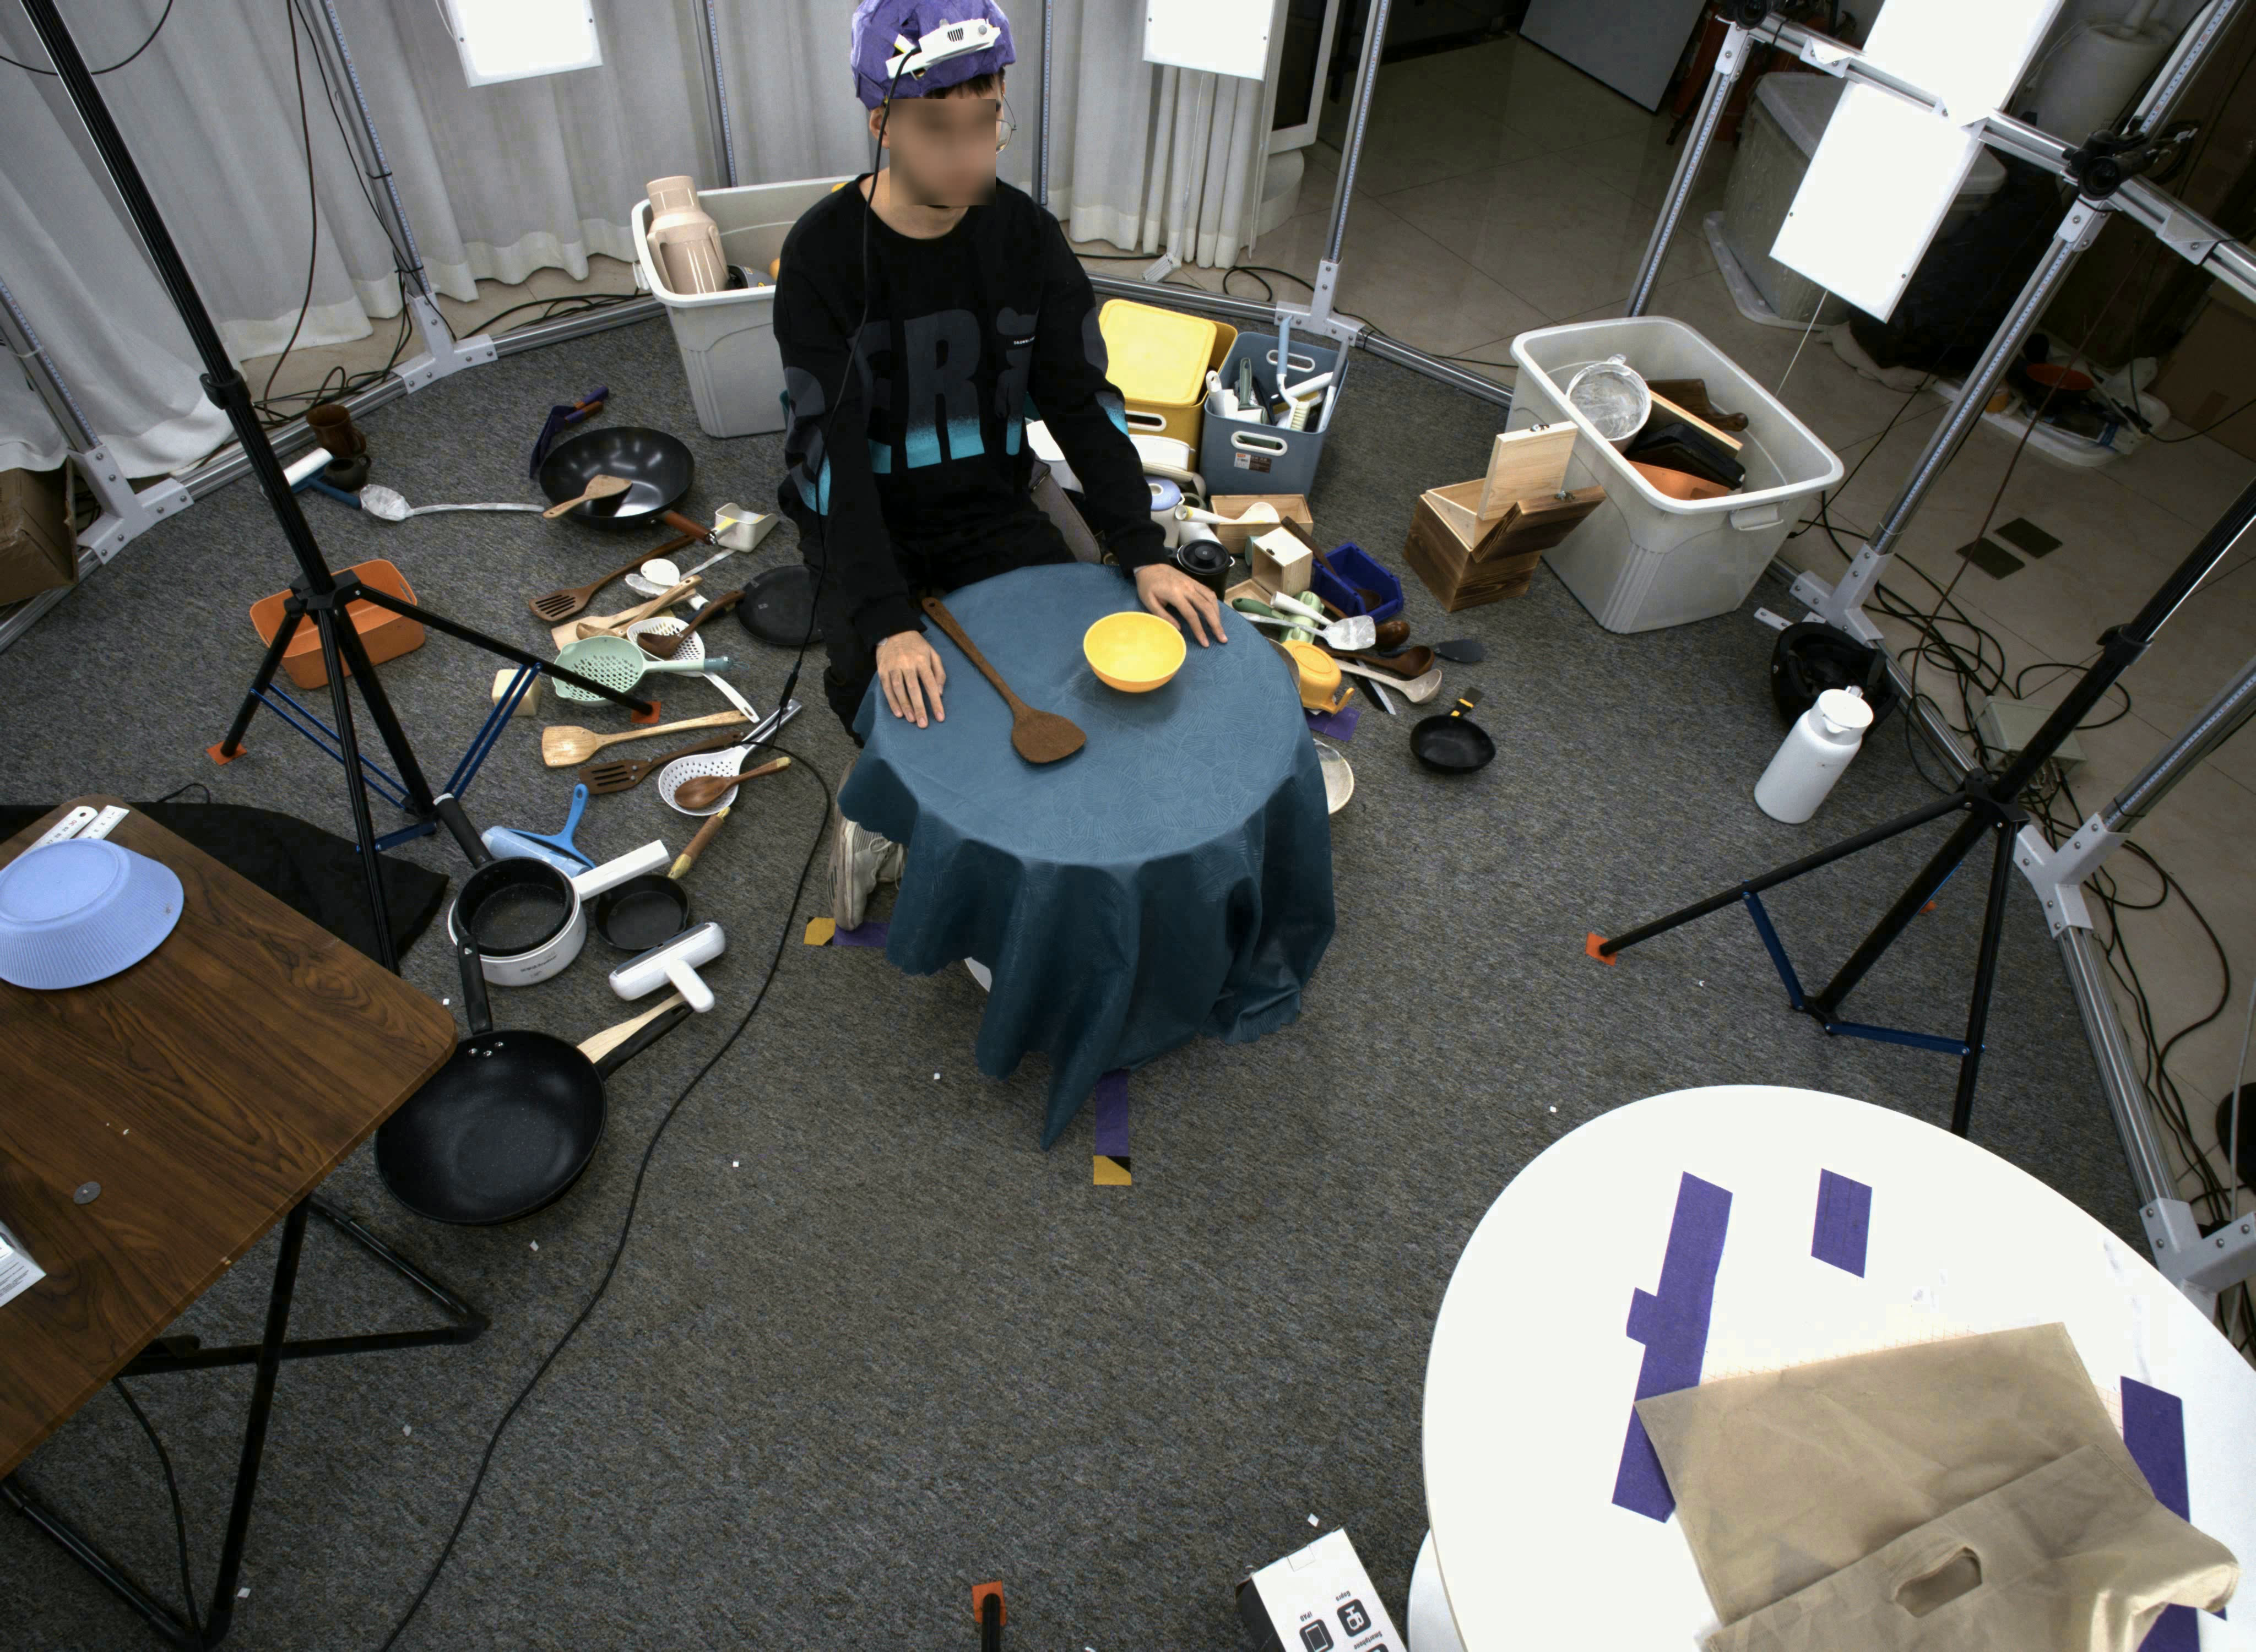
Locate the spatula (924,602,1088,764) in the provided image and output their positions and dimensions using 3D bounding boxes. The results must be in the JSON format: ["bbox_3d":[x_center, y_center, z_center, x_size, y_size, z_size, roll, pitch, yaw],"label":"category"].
[{"bbox_3d":[-0.194,-0.216,1.852,0.096,0.015,0.393,-25,54,-24],"label":"spatula"}]

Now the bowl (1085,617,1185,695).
[{"bbox_3d":[0.008,-0.234,1.853,0.145,0.058,0.149,3,47,-3],"label":"bowl"}]
